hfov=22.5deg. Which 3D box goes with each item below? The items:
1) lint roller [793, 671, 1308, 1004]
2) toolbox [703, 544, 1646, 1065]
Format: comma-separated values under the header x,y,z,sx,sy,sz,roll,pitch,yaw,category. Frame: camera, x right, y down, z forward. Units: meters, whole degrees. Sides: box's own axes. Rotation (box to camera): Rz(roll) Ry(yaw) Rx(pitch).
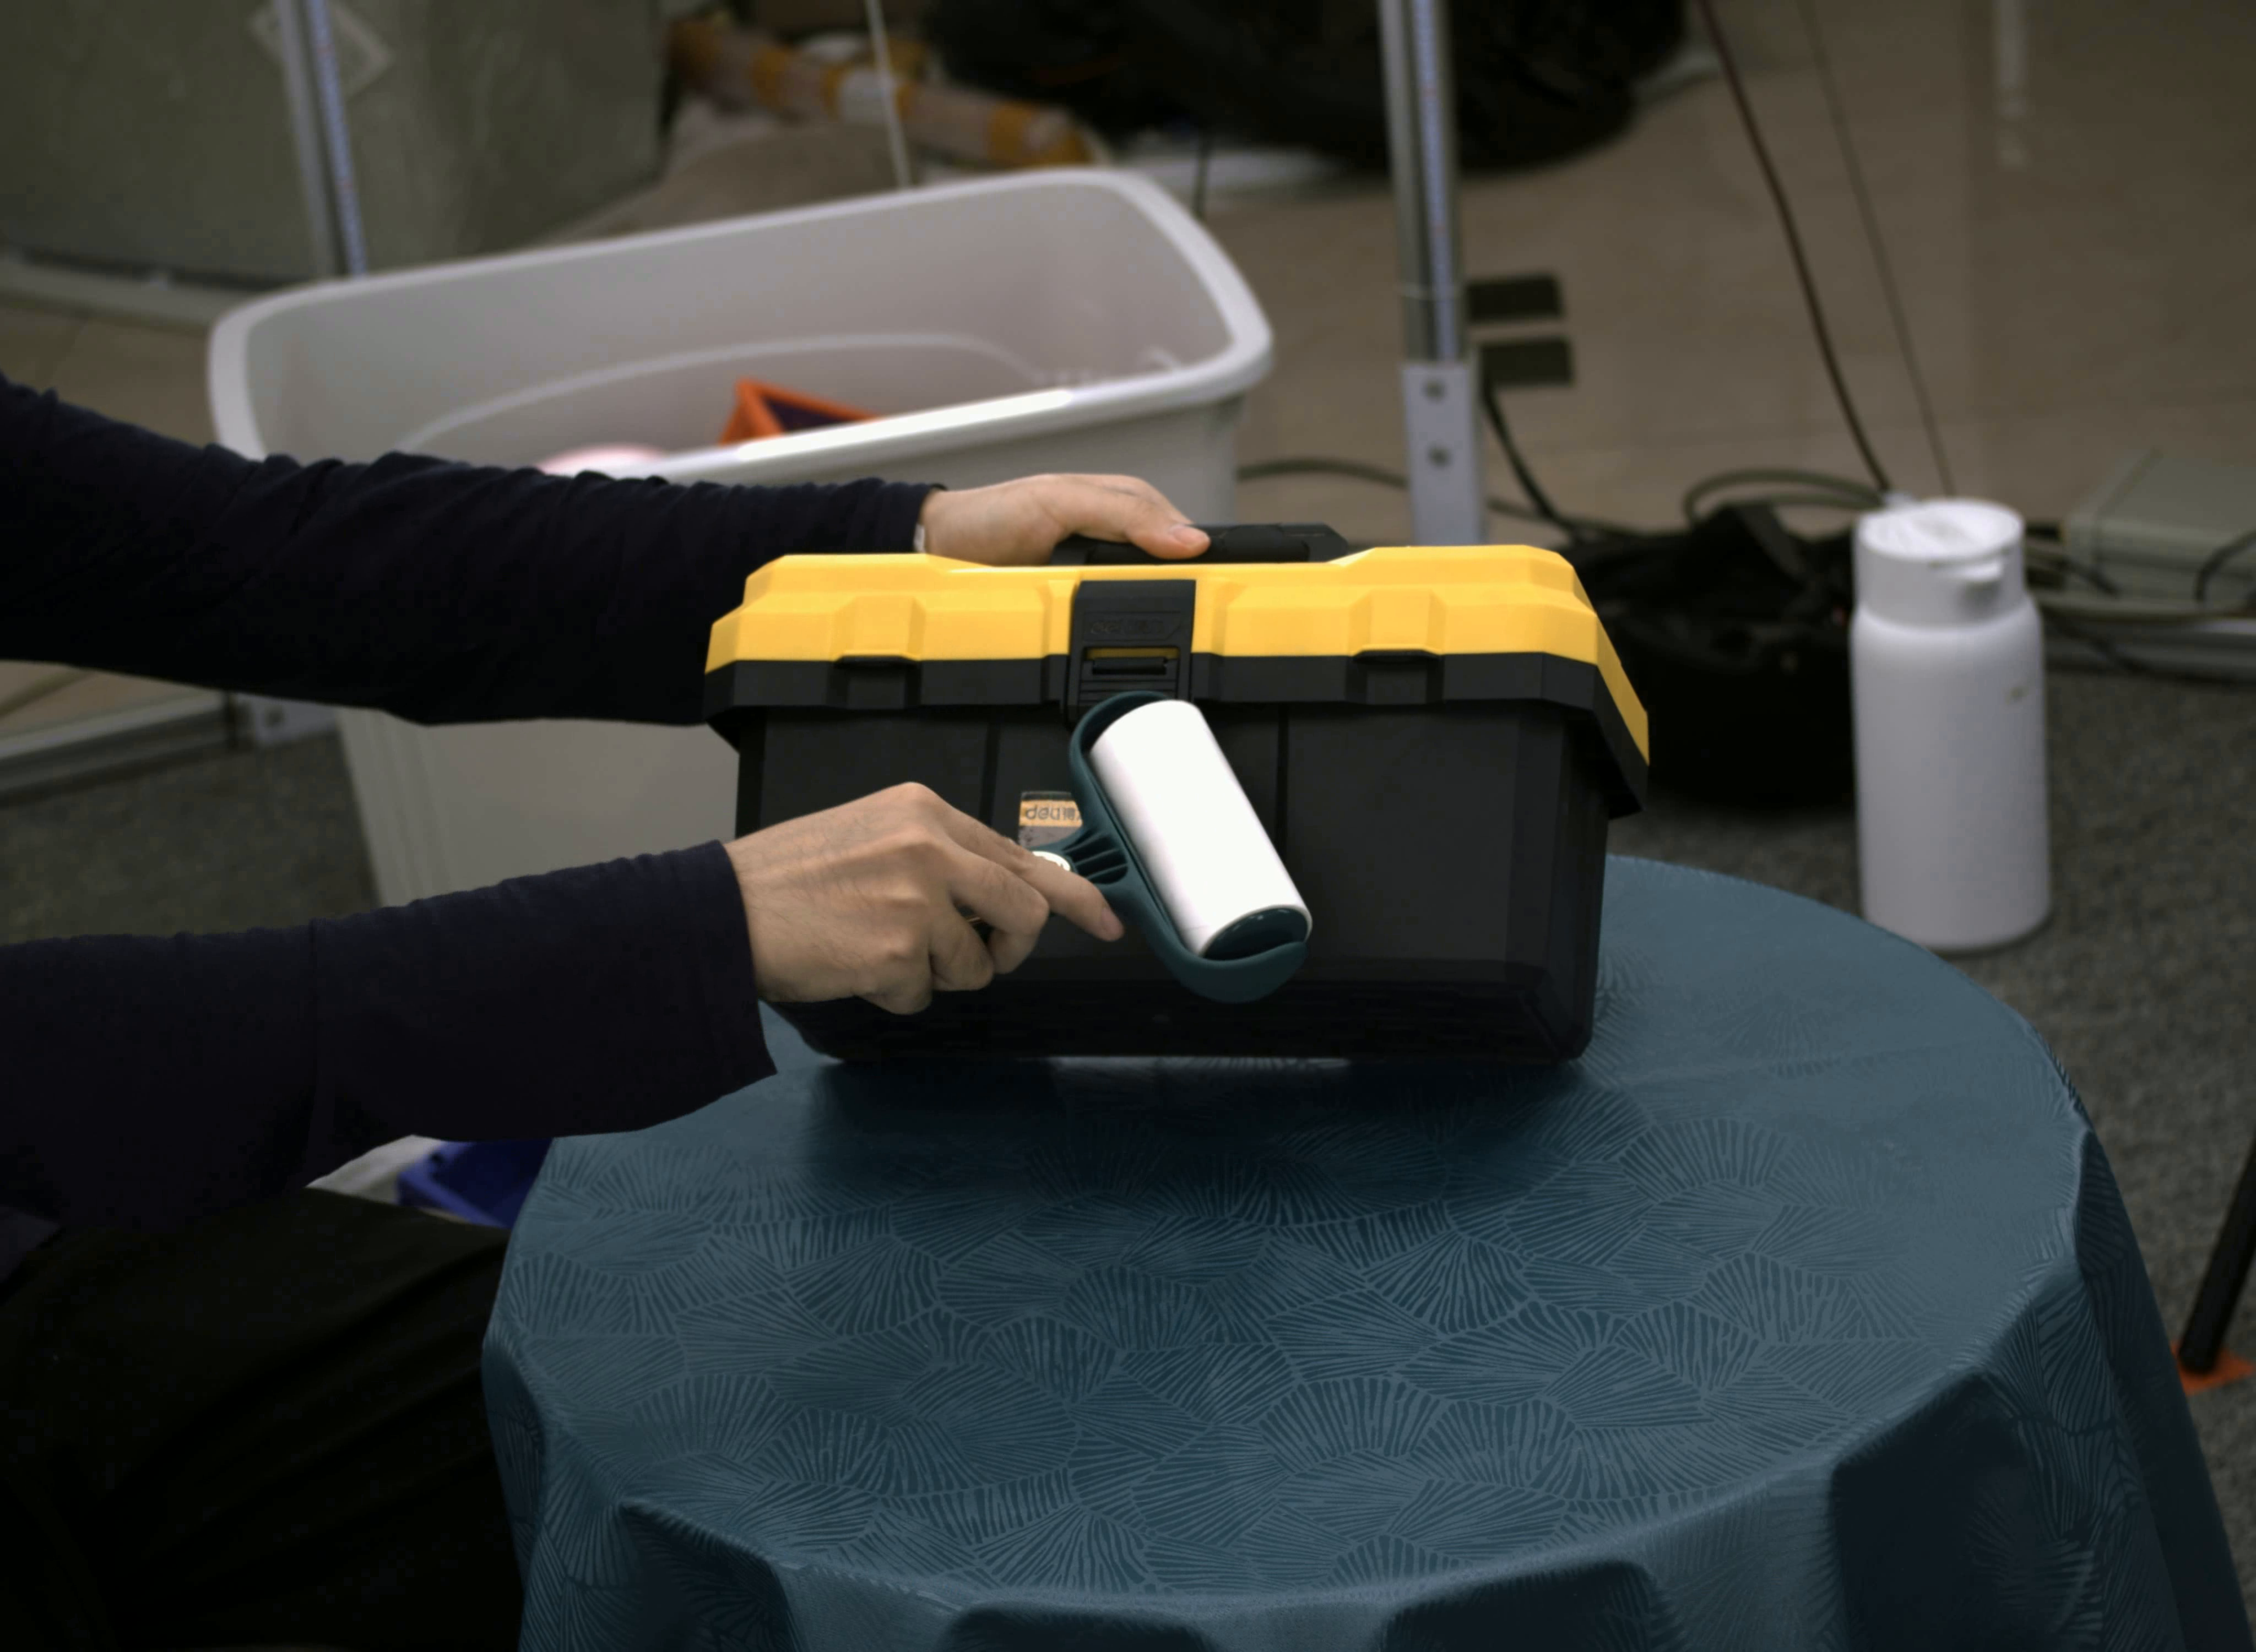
x,y,z,sx,sy,sz,roll,pitch,yaw,category
-0.035,0.018,2.048,0.179,0.049,0.132,-12,57,-24,lint roller
0.017,-0.005,2.204,0.351,0.171,0.183,0,-15,14,toolbox
